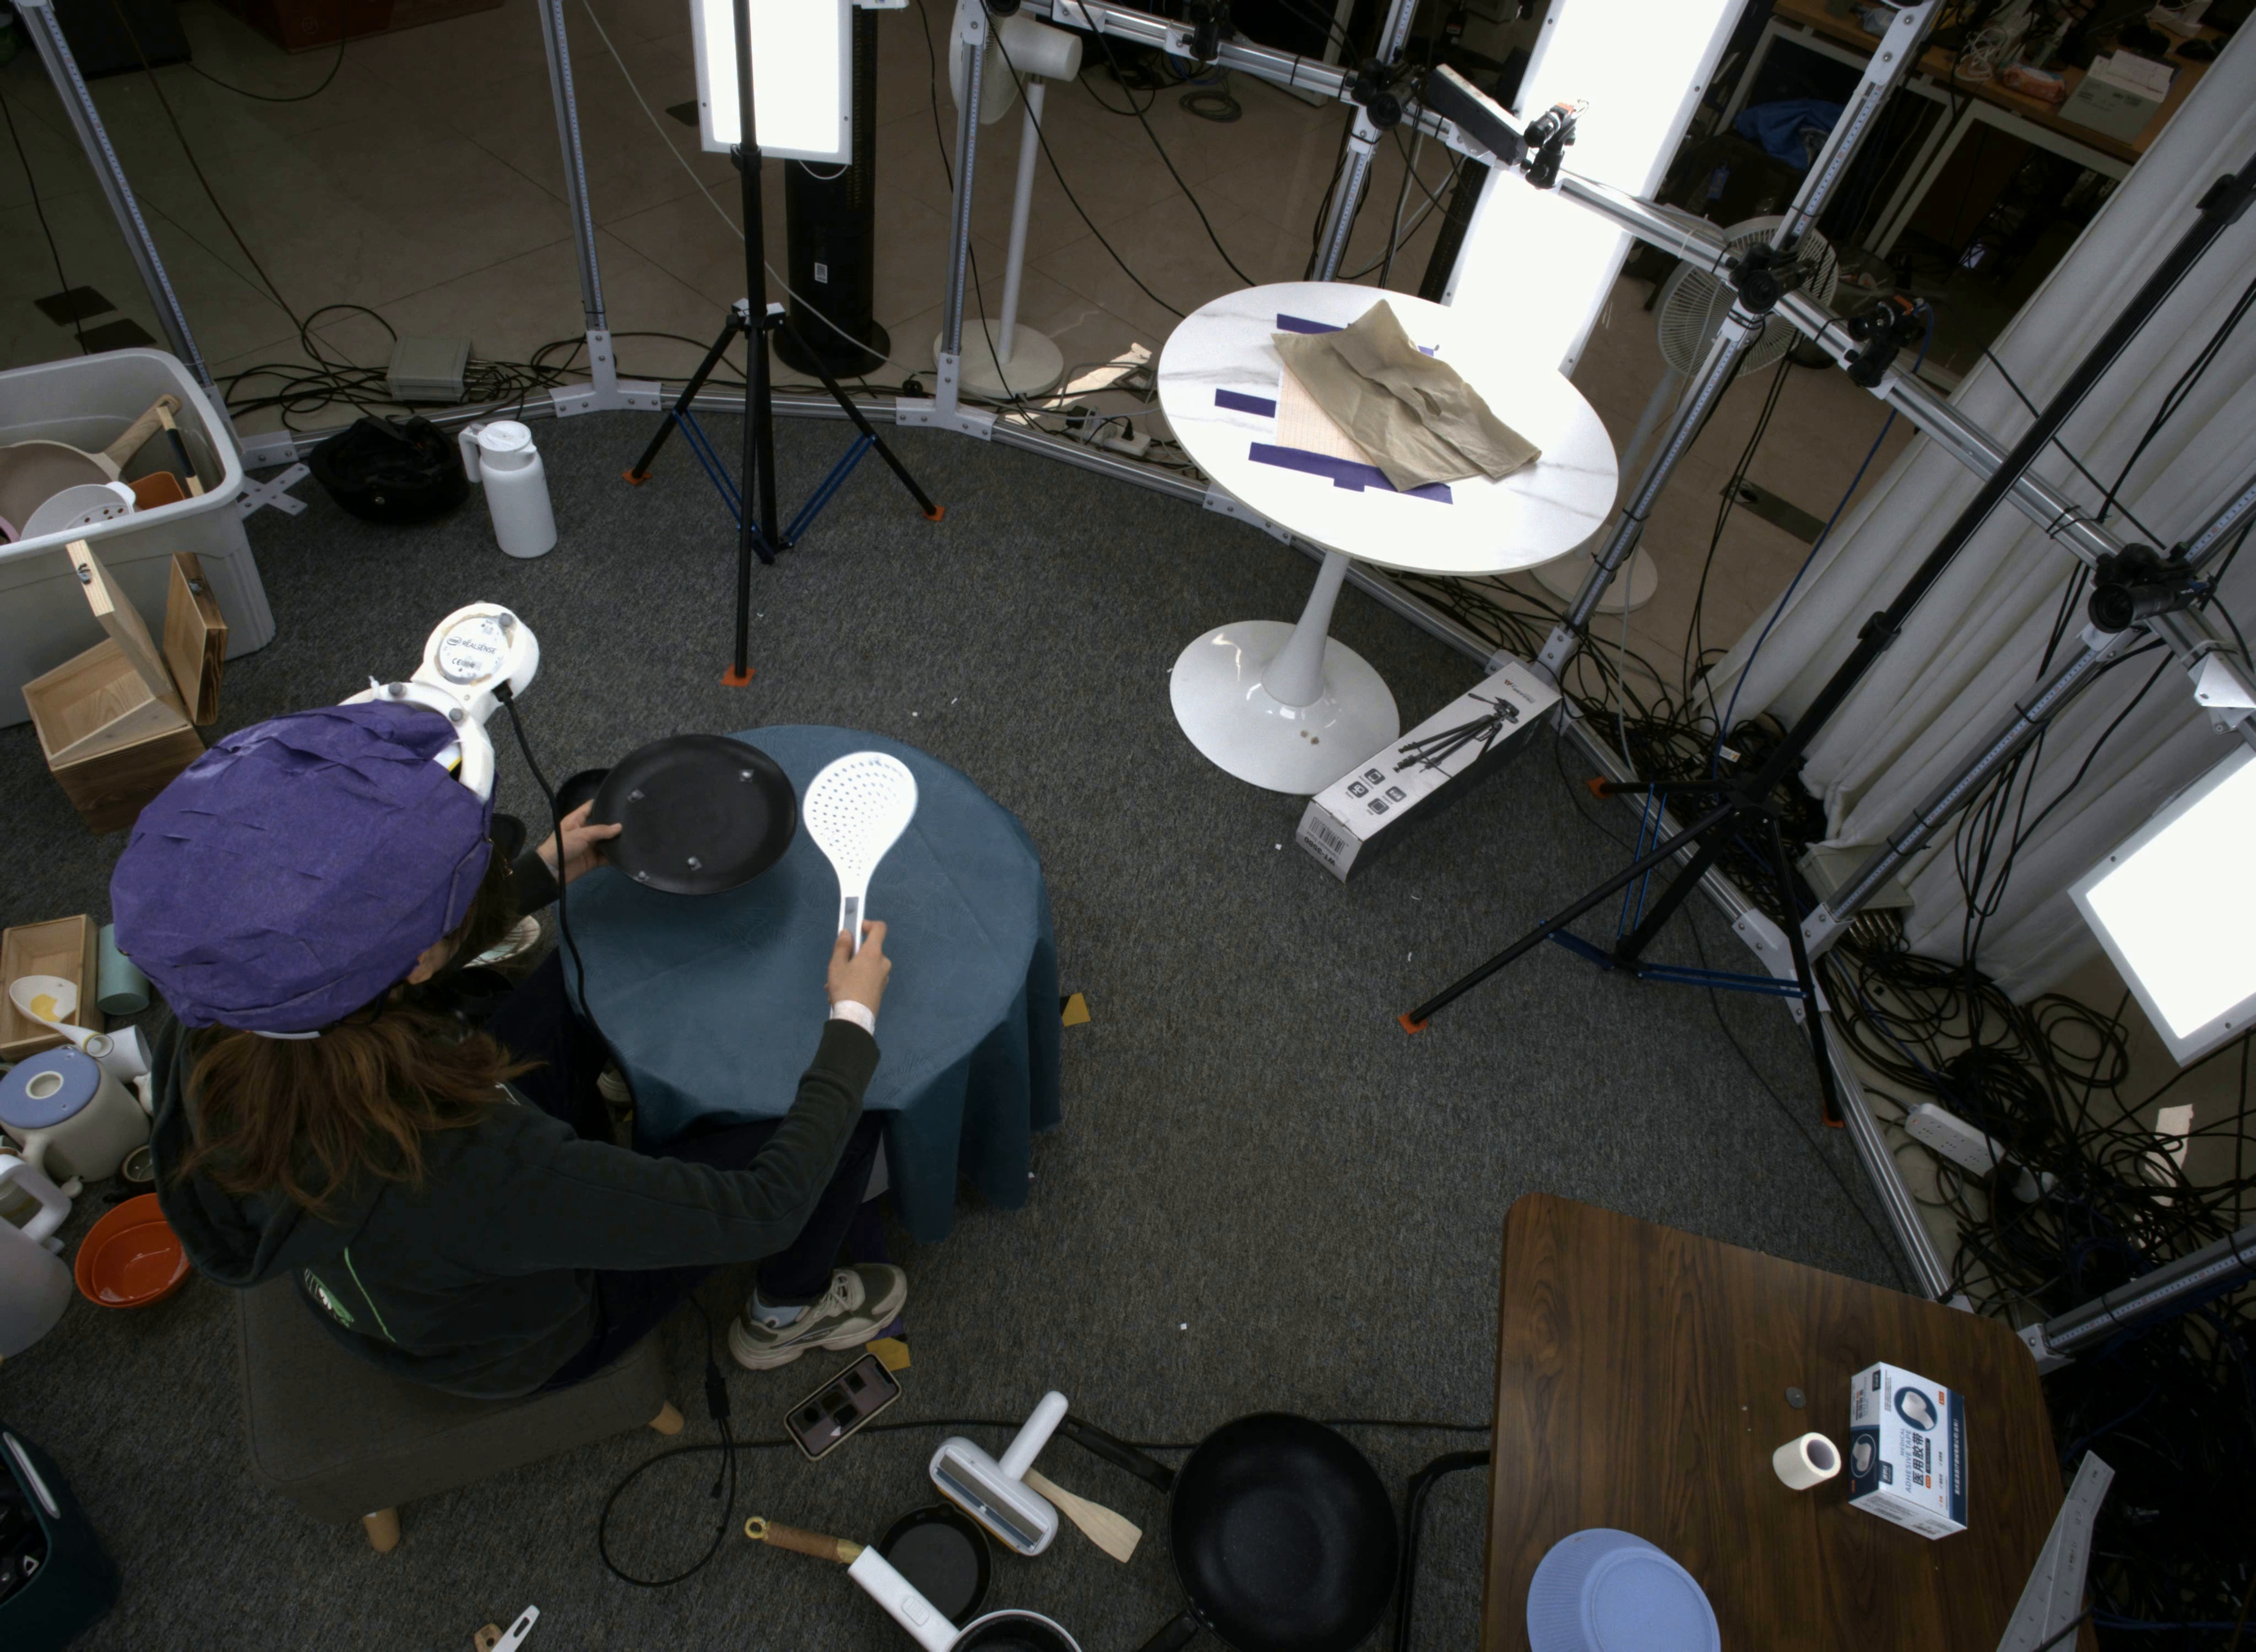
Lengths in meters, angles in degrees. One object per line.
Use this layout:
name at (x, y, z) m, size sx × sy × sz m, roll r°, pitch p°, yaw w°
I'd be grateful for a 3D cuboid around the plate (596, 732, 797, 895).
plate at (-0.530, -0.014, 1.580) m, size 0.244 × 0.024 × 0.240 m, roll 9°, pitch 54°, yaw -11°

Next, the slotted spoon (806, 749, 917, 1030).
slotted spoon at (-0.313, 0.066, 1.488) m, size 0.134 × 0.047 × 0.344 m, roll -3°, pitch 57°, yaw 4°
